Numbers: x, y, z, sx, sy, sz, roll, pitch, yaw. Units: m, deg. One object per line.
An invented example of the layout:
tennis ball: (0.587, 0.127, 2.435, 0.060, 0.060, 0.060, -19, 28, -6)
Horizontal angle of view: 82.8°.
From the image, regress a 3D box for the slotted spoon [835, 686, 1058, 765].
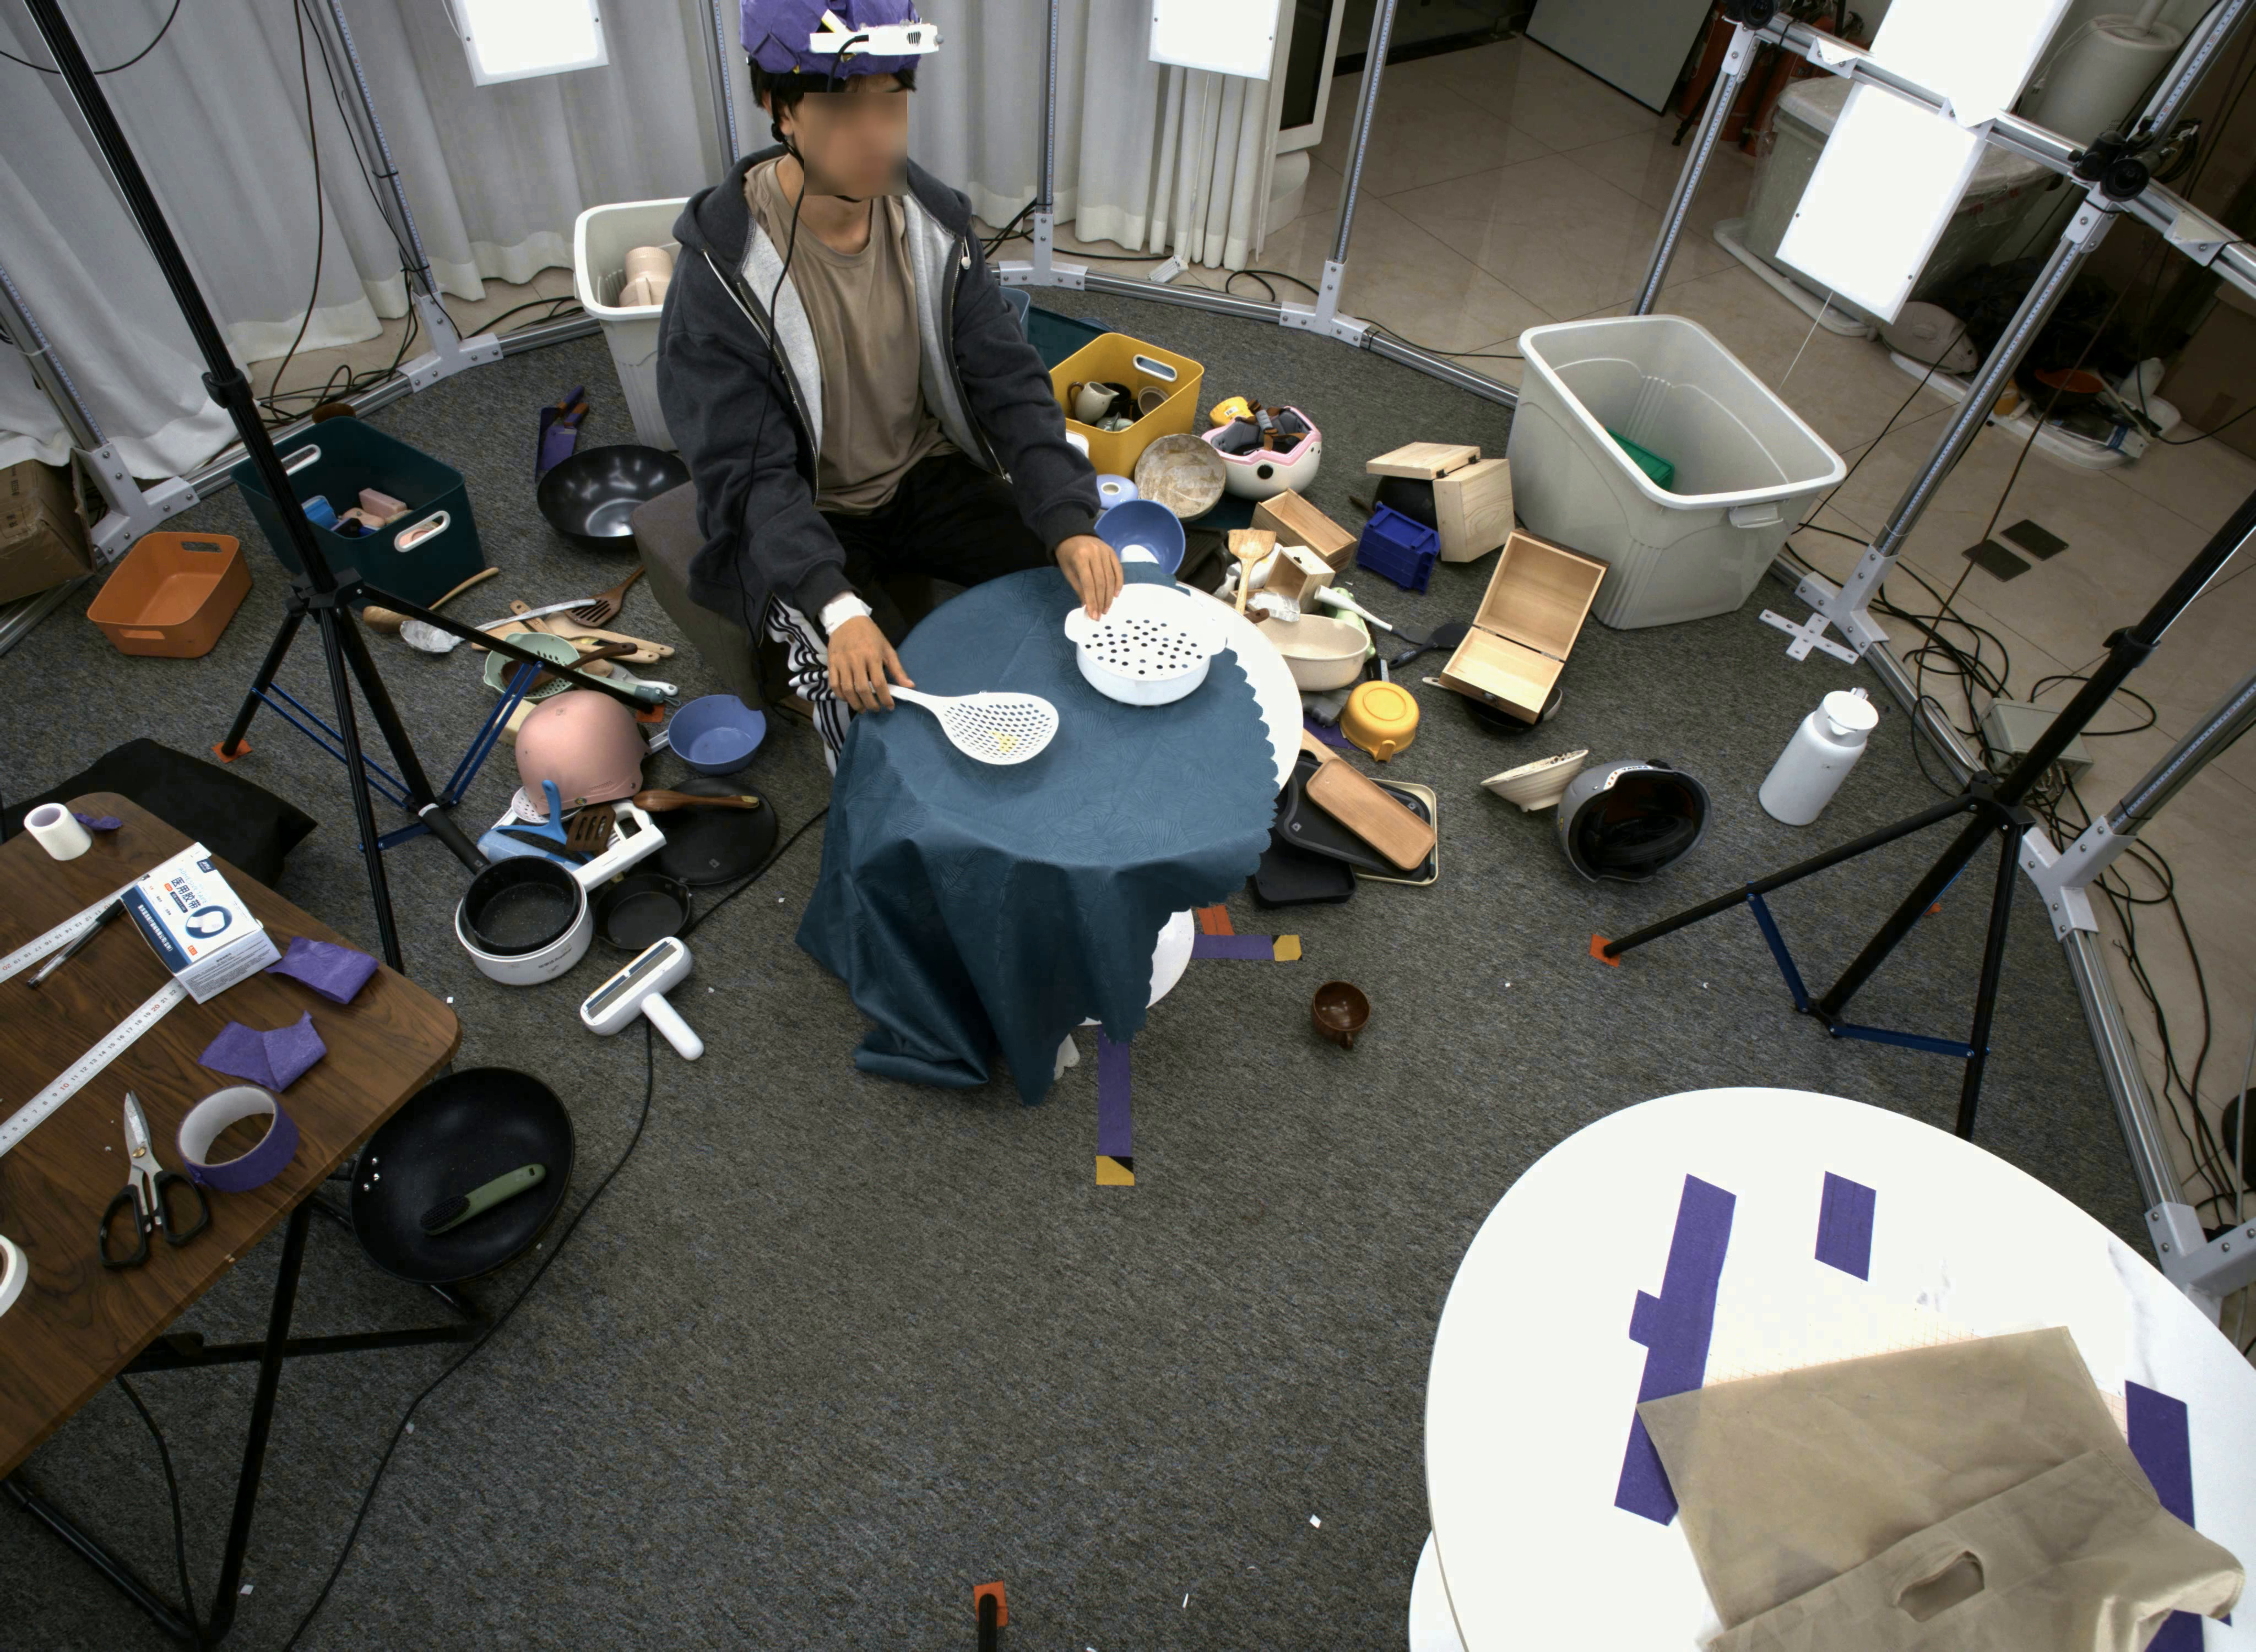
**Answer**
slotted spoon: (-0.258, -0.158, 1.771, 0.350, 0.049, 0.139, 19, 56, 20)

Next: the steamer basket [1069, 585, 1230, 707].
steamer basket: (0.029, -0.259, 1.851, 0.230, 0.067, 0.207, 6, 48, -1)
